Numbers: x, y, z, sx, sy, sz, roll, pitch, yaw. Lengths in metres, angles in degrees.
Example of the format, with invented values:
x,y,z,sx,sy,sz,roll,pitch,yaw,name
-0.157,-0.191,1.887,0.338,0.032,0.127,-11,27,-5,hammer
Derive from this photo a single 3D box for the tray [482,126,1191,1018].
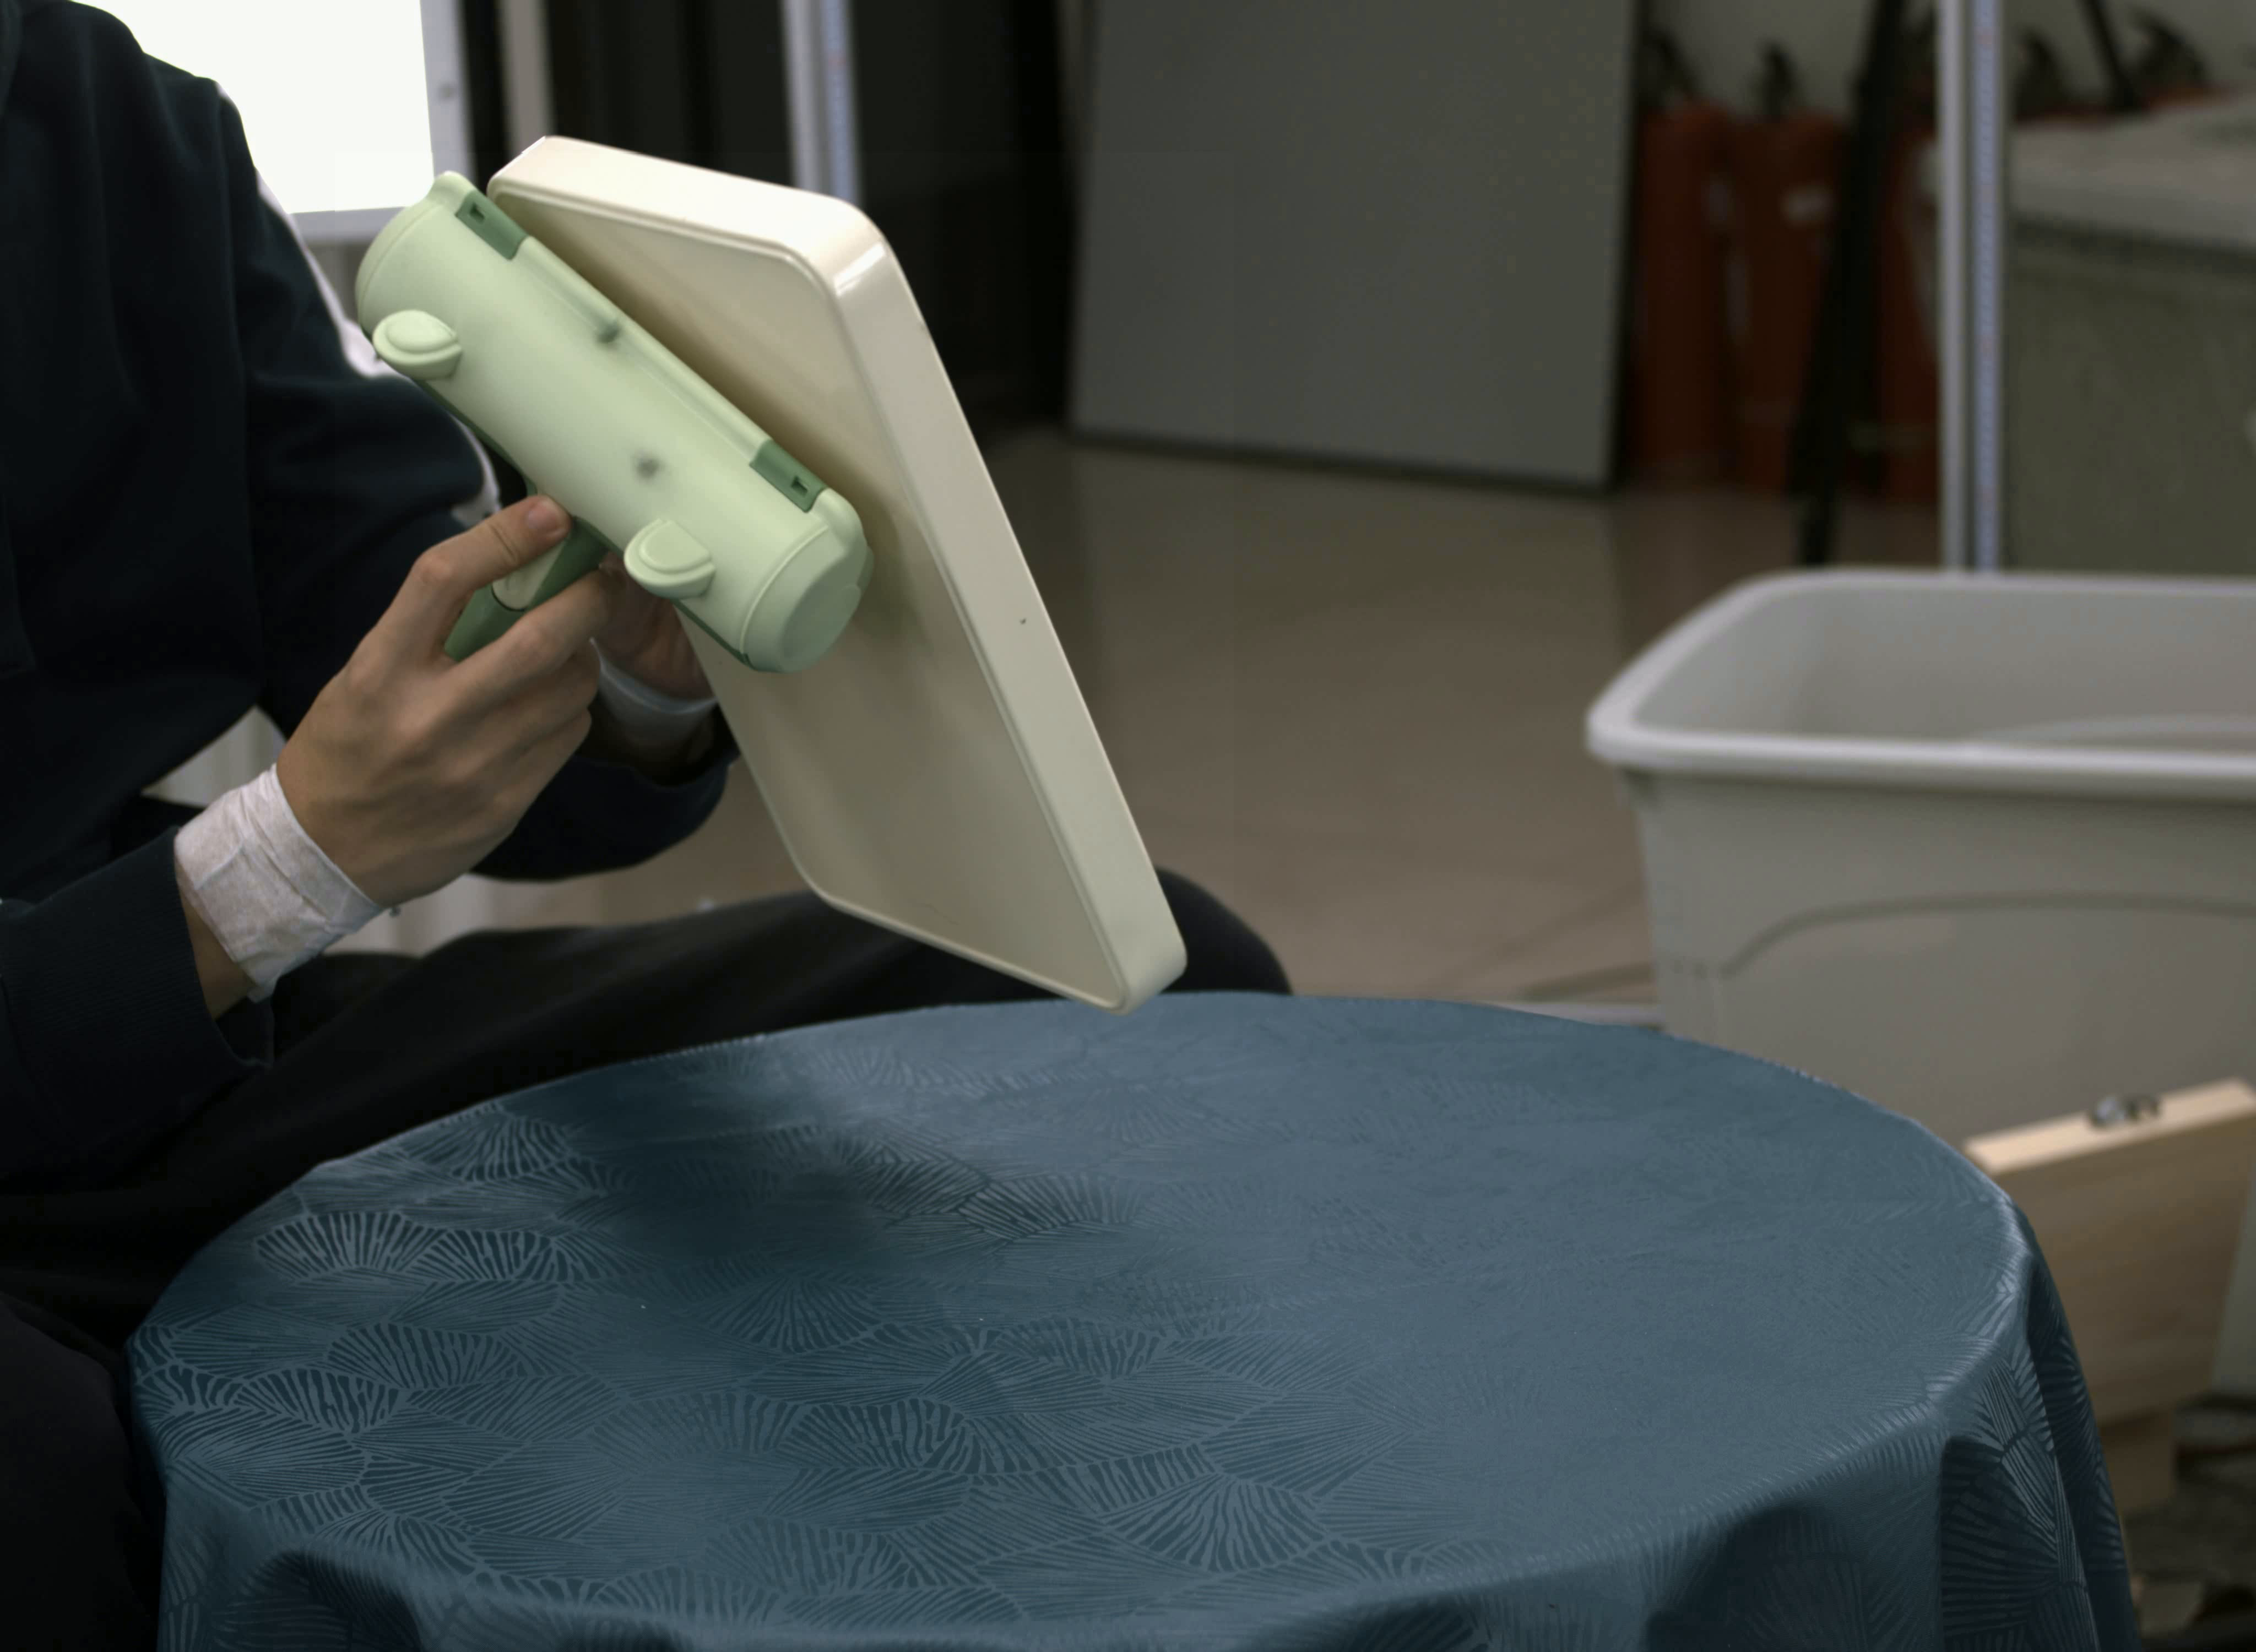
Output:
x,y,z,sx,sy,sz,roll,pitch,yaw,name
-0.093,-0.079,1.729,0.027,0.300,0.193,-38,32,-26,tray

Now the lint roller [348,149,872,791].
x,y,z,sx,sy,sz,roll,pitch,yaw,name
-0.192,-0.084,1.702,0.200,0.185,0.081,41,23,22,lint roller
